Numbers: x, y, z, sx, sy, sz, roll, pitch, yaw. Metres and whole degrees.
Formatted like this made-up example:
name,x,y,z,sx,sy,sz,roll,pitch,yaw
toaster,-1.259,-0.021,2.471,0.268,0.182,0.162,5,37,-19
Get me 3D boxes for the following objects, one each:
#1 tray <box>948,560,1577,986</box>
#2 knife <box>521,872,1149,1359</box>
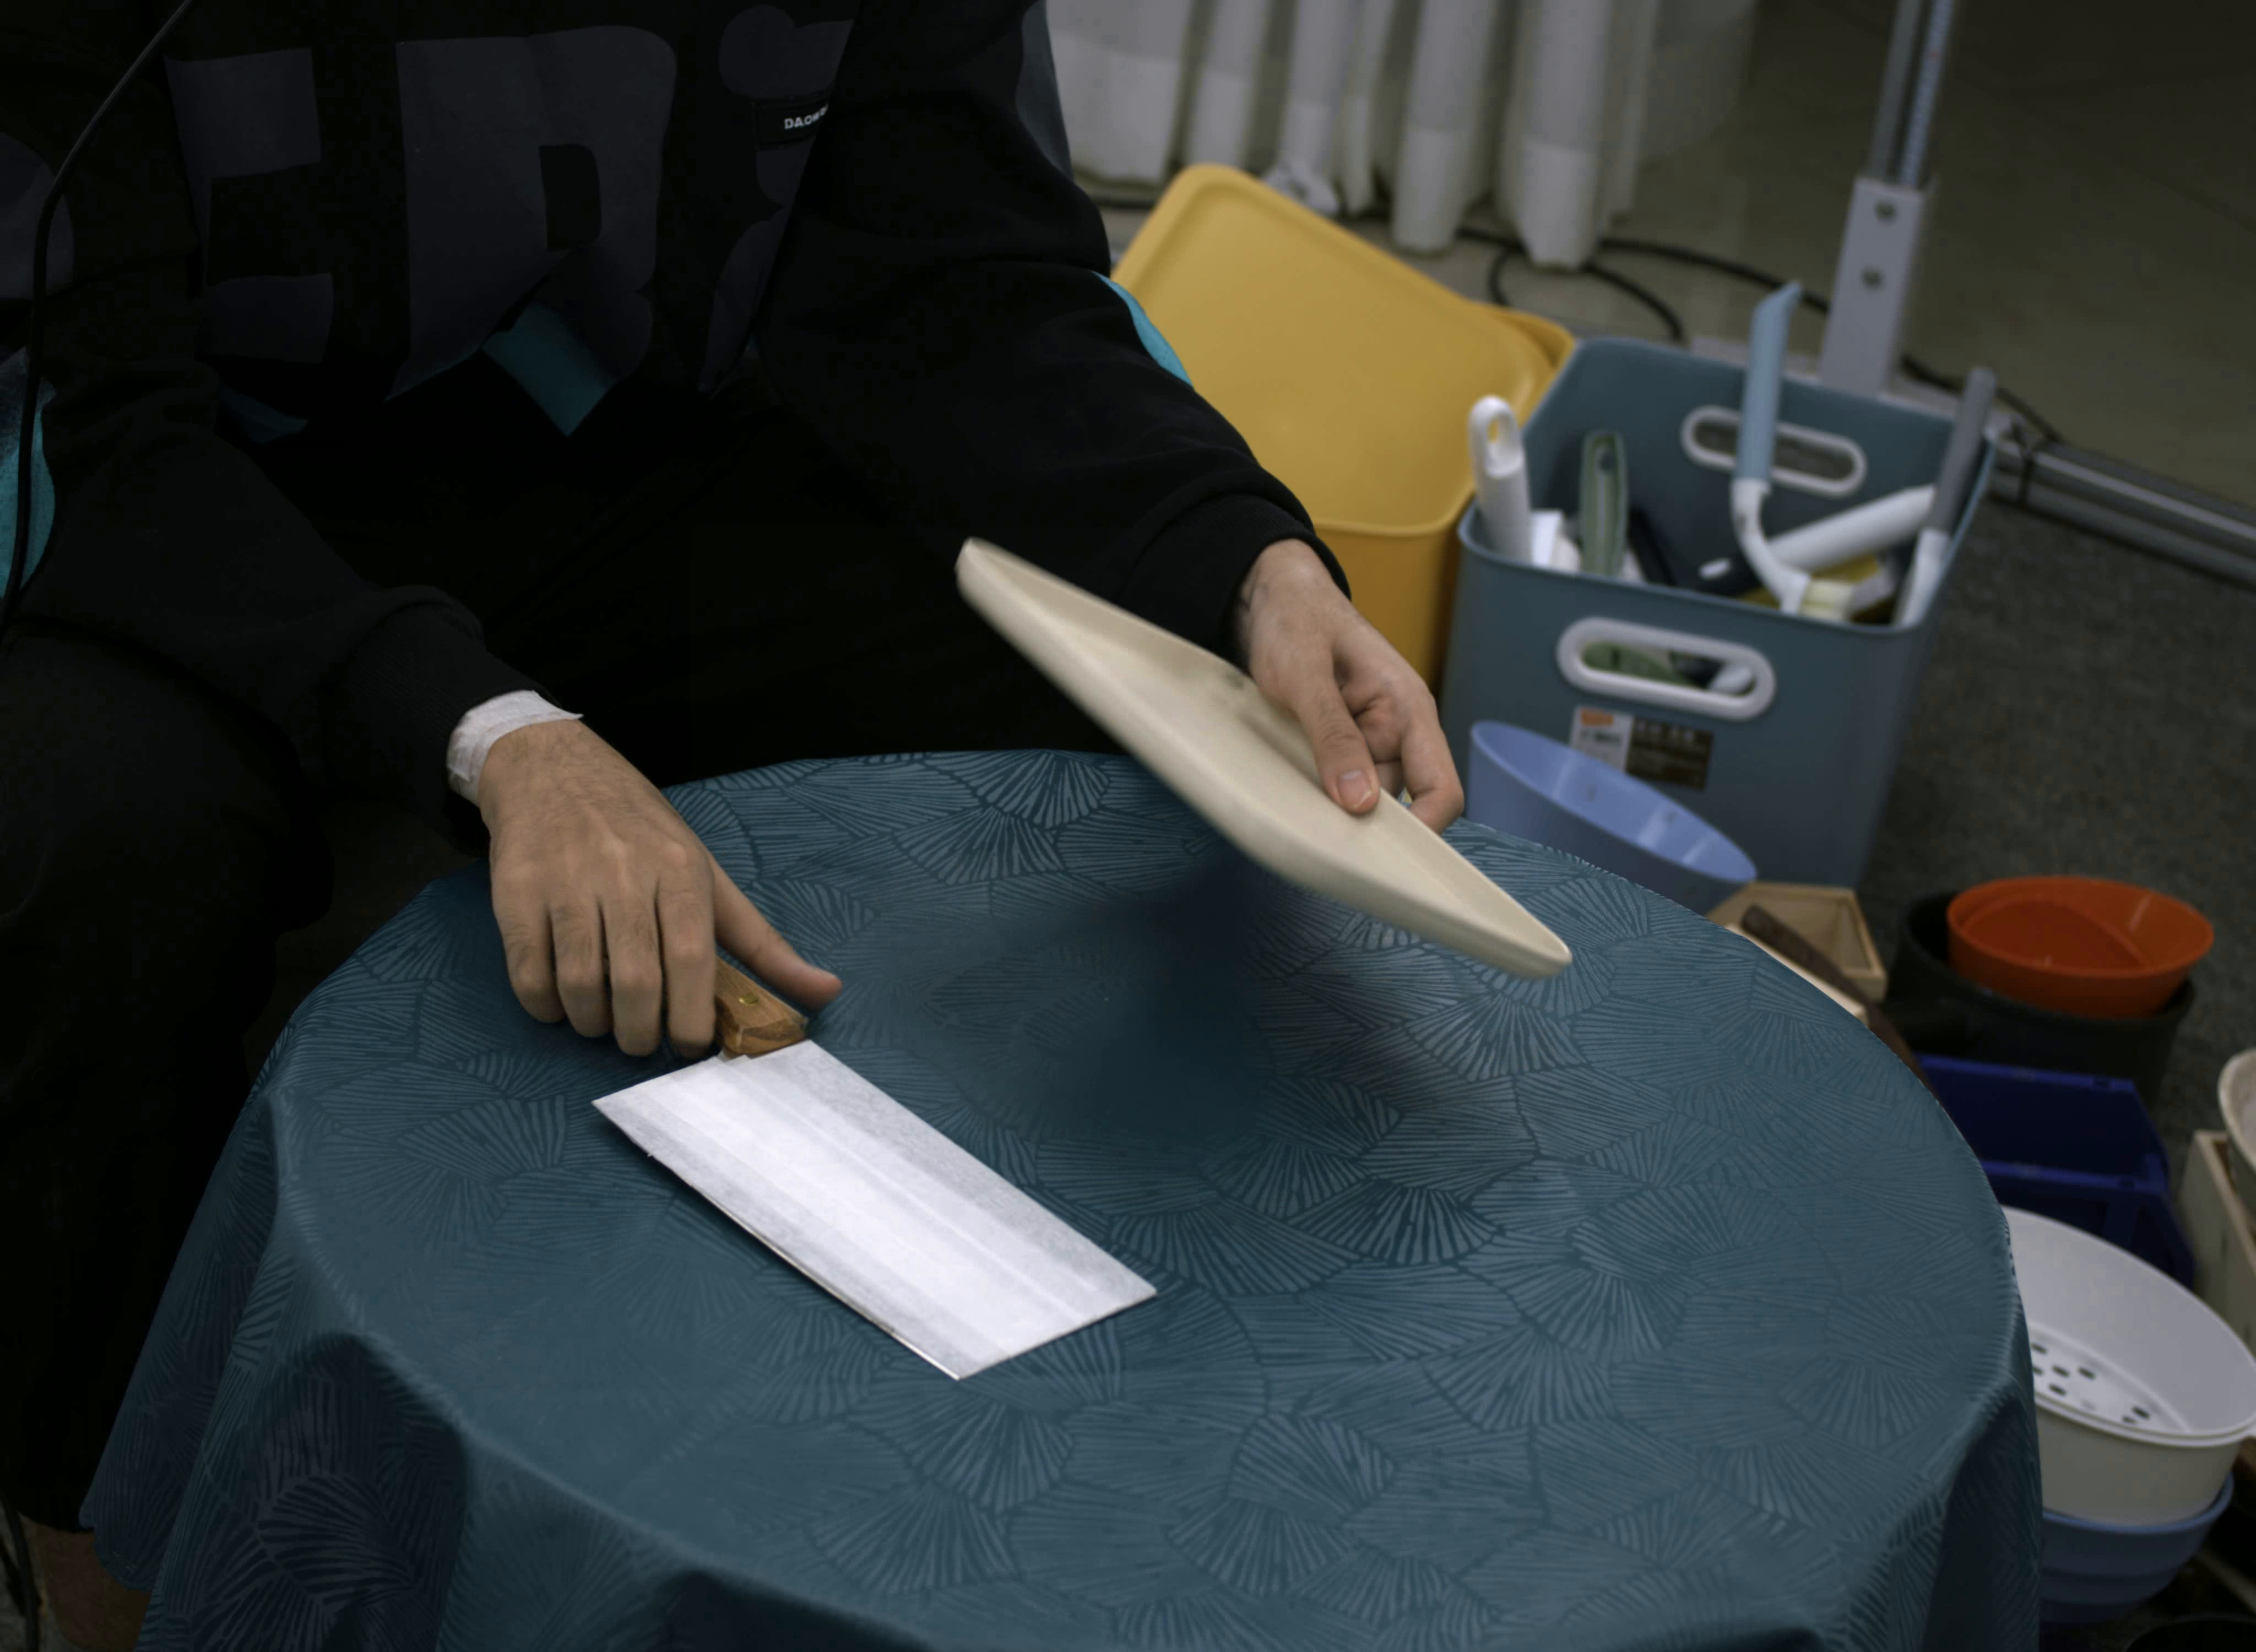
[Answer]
name,x,y,z,sx,sy,sz,roll,pitch,yaw
tray,0.044,-0.017,1.880,0.169,0.017,0.242,20,15,-42
knife,-0.123,0.098,1.808,0.092,0.021,0.308,-20,39,-39
